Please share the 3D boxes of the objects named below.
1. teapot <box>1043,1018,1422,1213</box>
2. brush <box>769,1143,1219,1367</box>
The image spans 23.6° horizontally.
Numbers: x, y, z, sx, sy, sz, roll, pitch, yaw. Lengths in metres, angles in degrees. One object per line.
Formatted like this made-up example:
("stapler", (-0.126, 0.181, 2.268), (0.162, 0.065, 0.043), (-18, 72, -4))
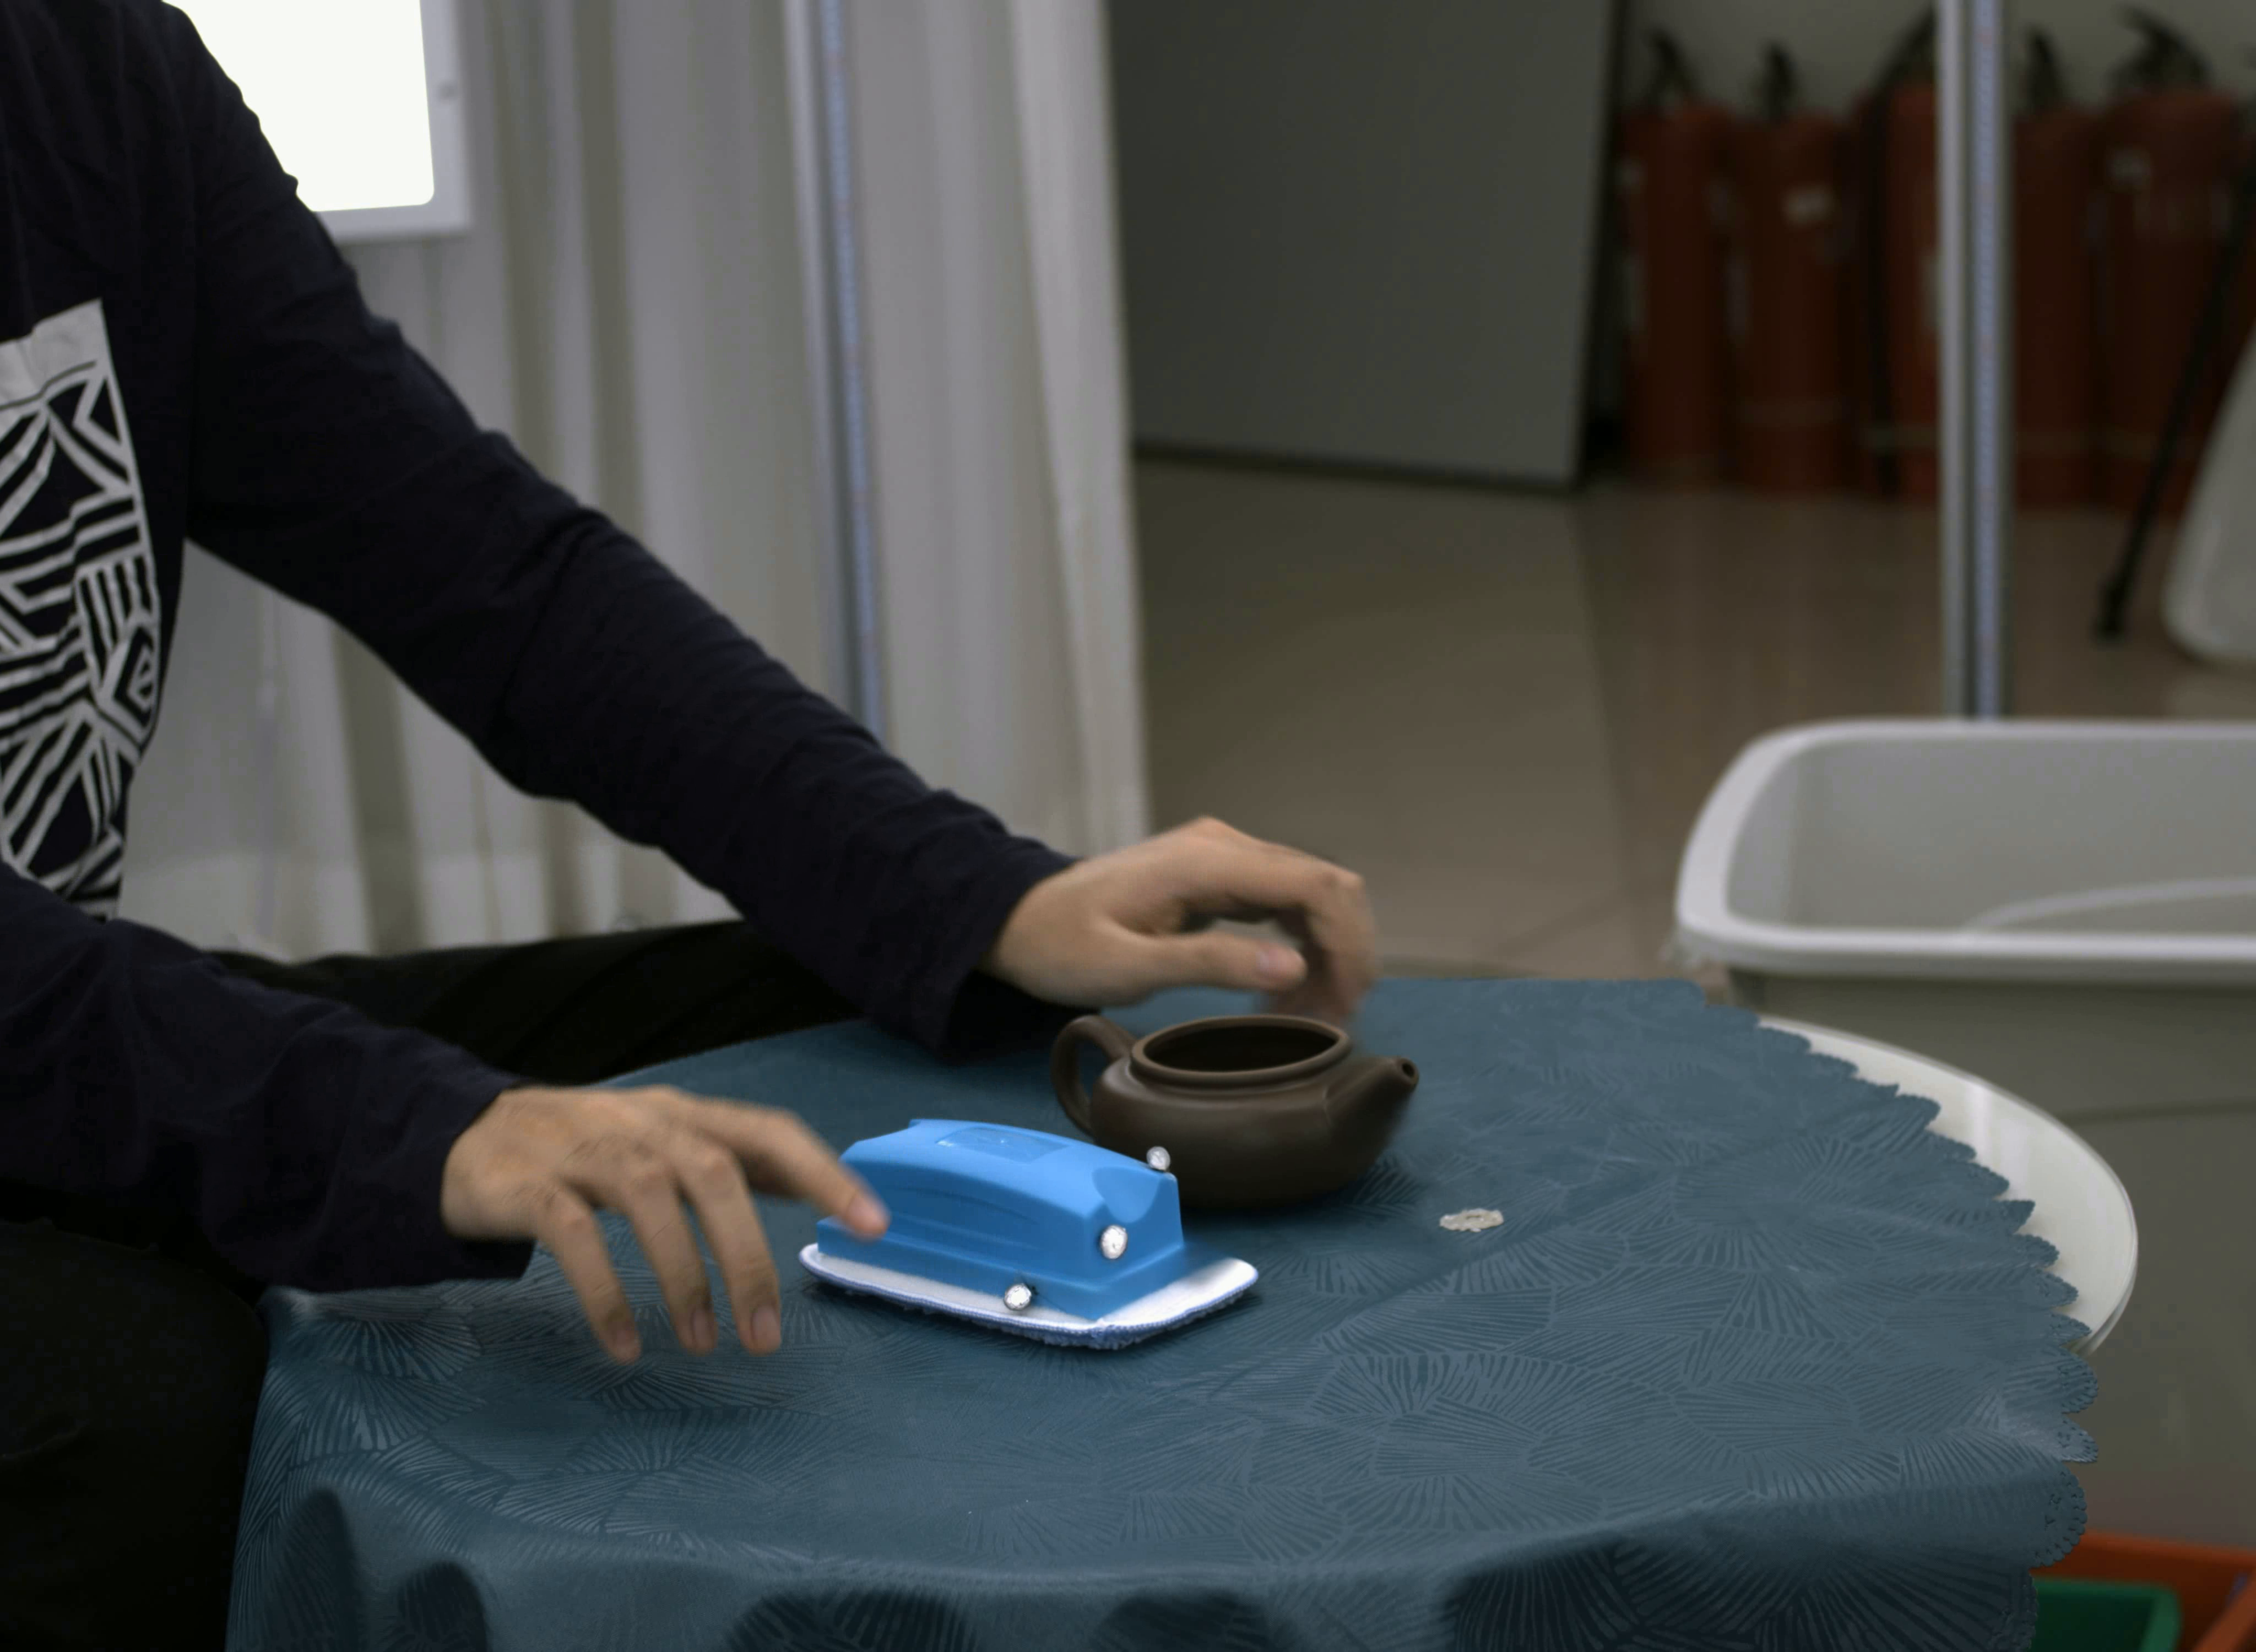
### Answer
("teapot", (0.034, 0.093, 1.771), (0.154, 0.054, 0.101), (5, 15, 35))
("brush", (-0.041, 0.132, 1.673), (0.082, 0.056, 0.145), (-7, 13, -43))
